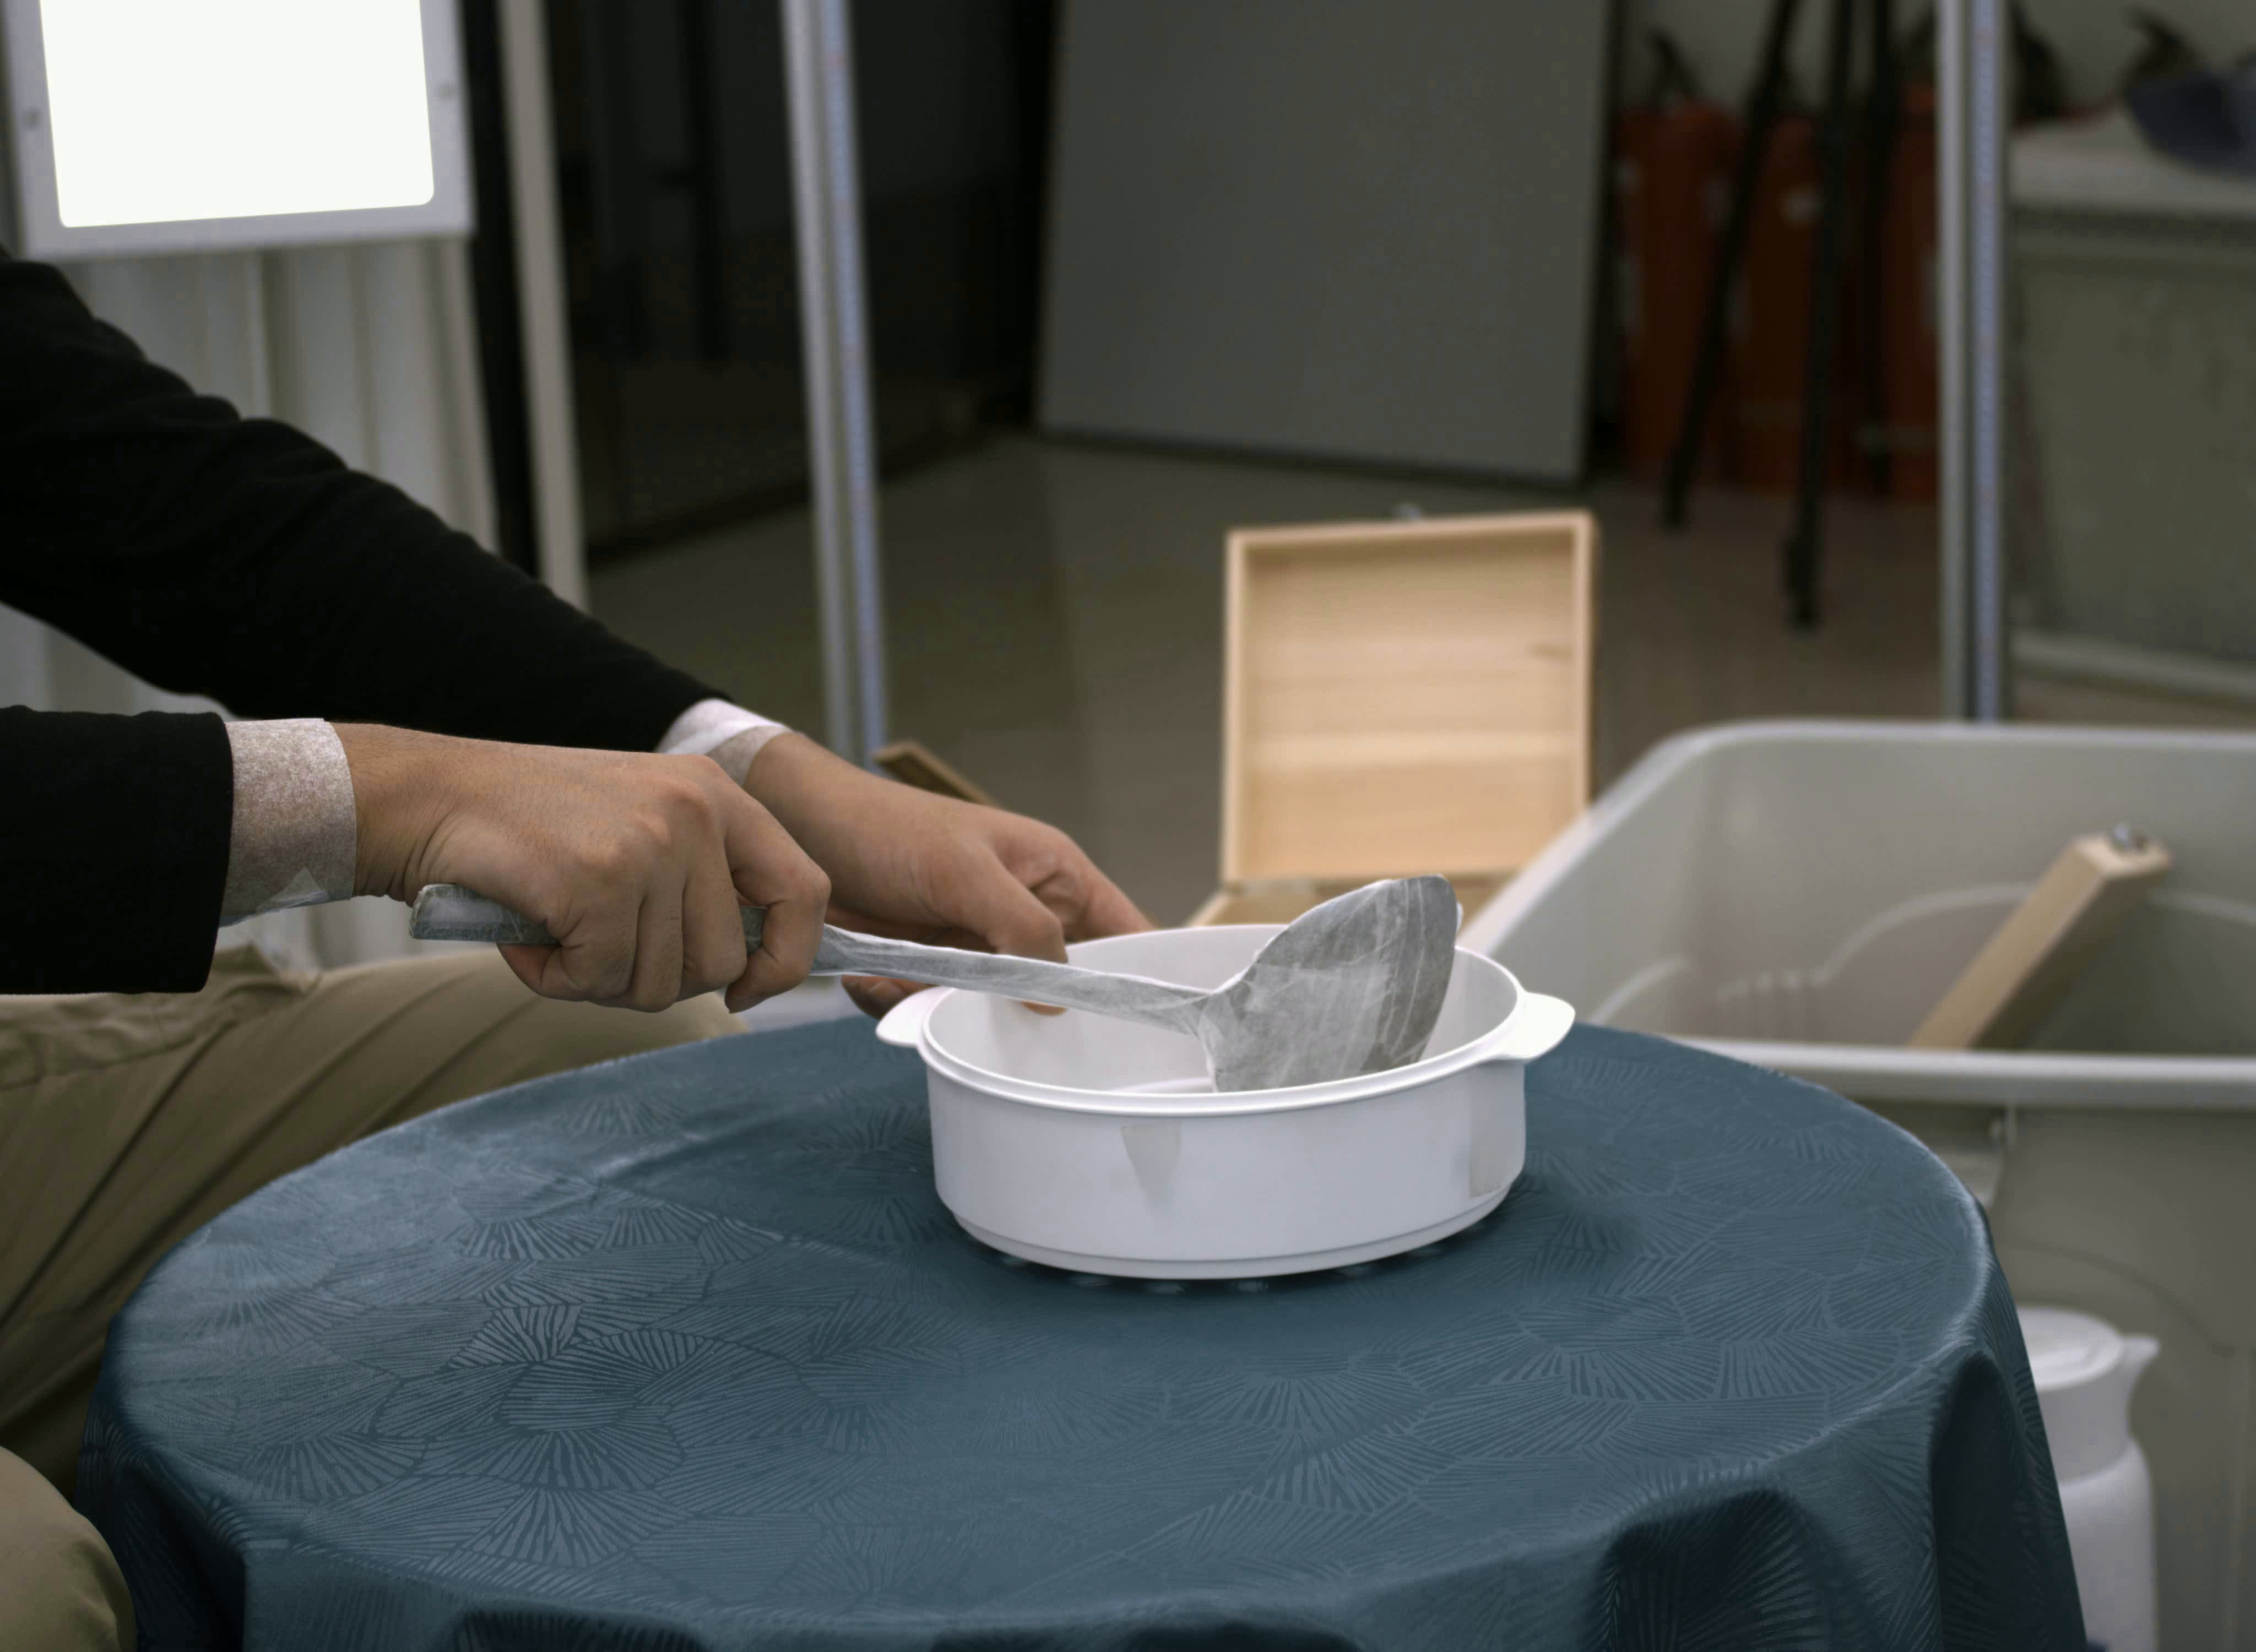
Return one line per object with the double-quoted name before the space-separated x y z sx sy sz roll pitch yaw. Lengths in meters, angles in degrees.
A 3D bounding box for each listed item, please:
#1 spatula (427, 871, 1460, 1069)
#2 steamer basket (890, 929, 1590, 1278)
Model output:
"spatula" -0.051 0.045 1.702 0.357 0.100 0.045 8 23 -23
"steamer basket" 0.037 0.089 1.743 0.230 0.070 0.200 -1 13 18
